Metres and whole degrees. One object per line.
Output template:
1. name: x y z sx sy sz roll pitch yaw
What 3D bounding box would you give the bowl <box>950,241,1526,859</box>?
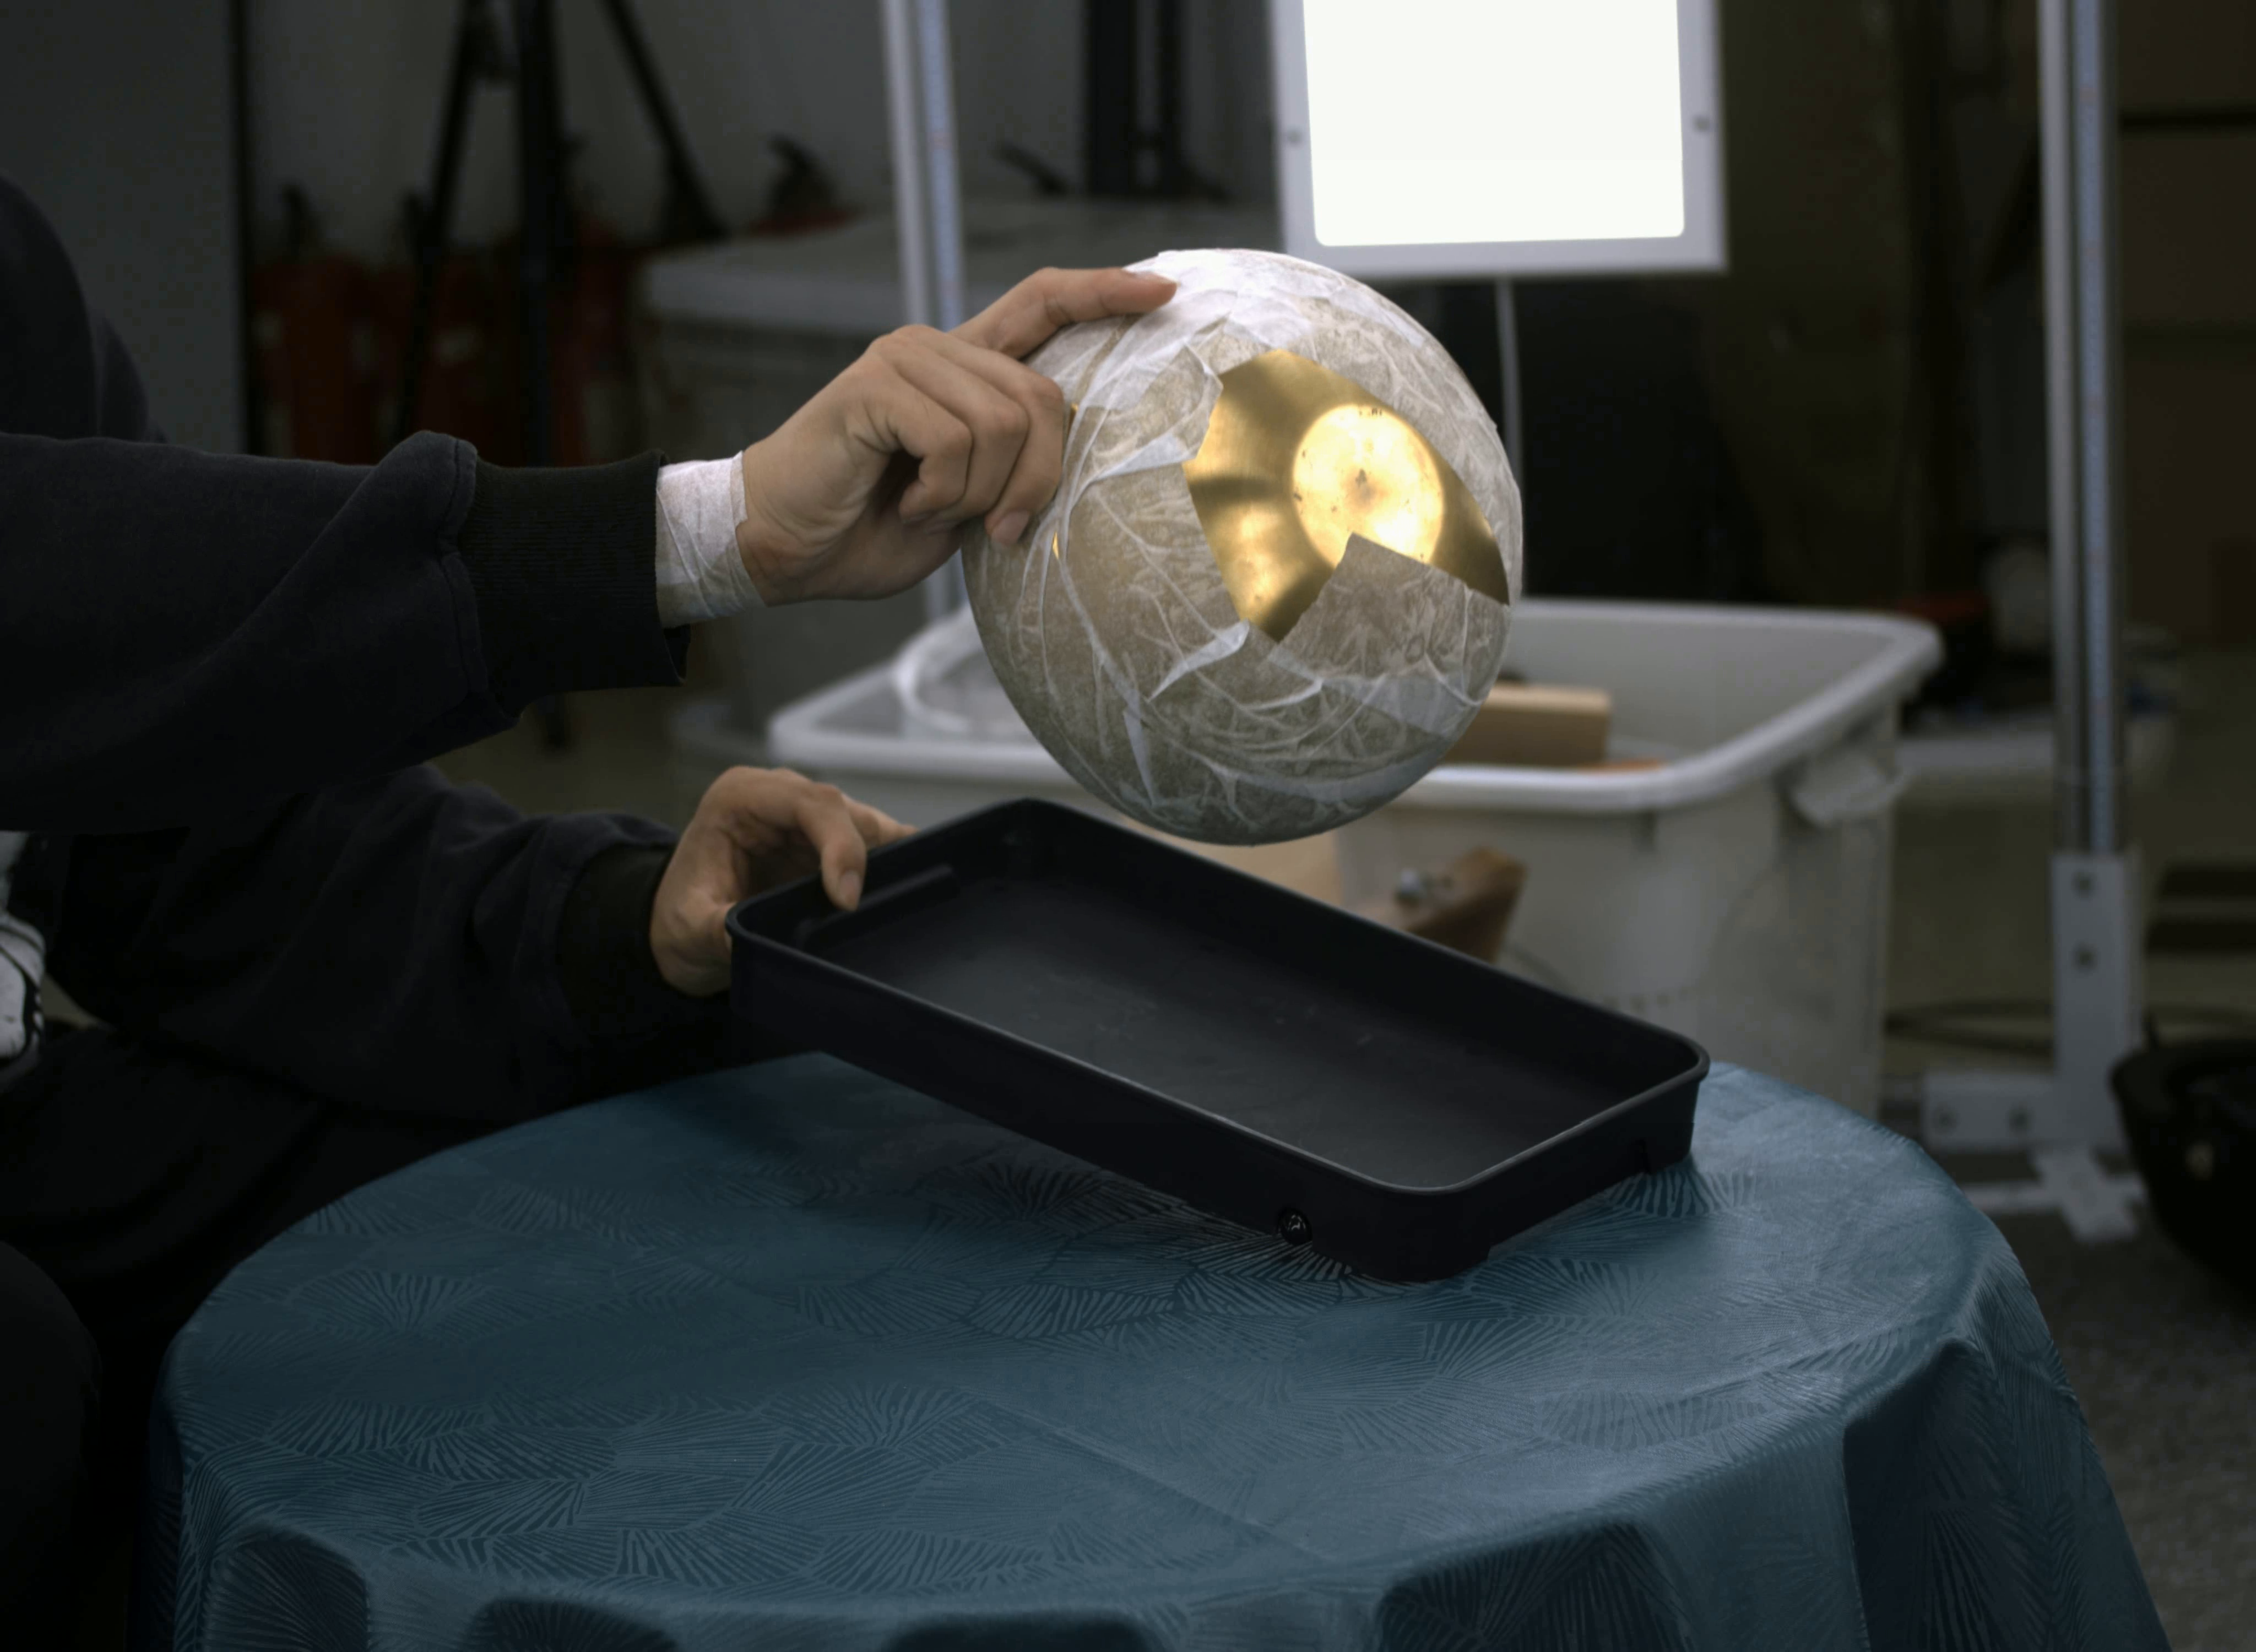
1. bowl: 0.052 -0.097 1.784 0.210 0.215 0.096 -12 -3 -31

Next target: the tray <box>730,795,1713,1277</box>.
1. tray: 0.030 0.068 1.913 0.324 0.037 0.179 20 28 37
